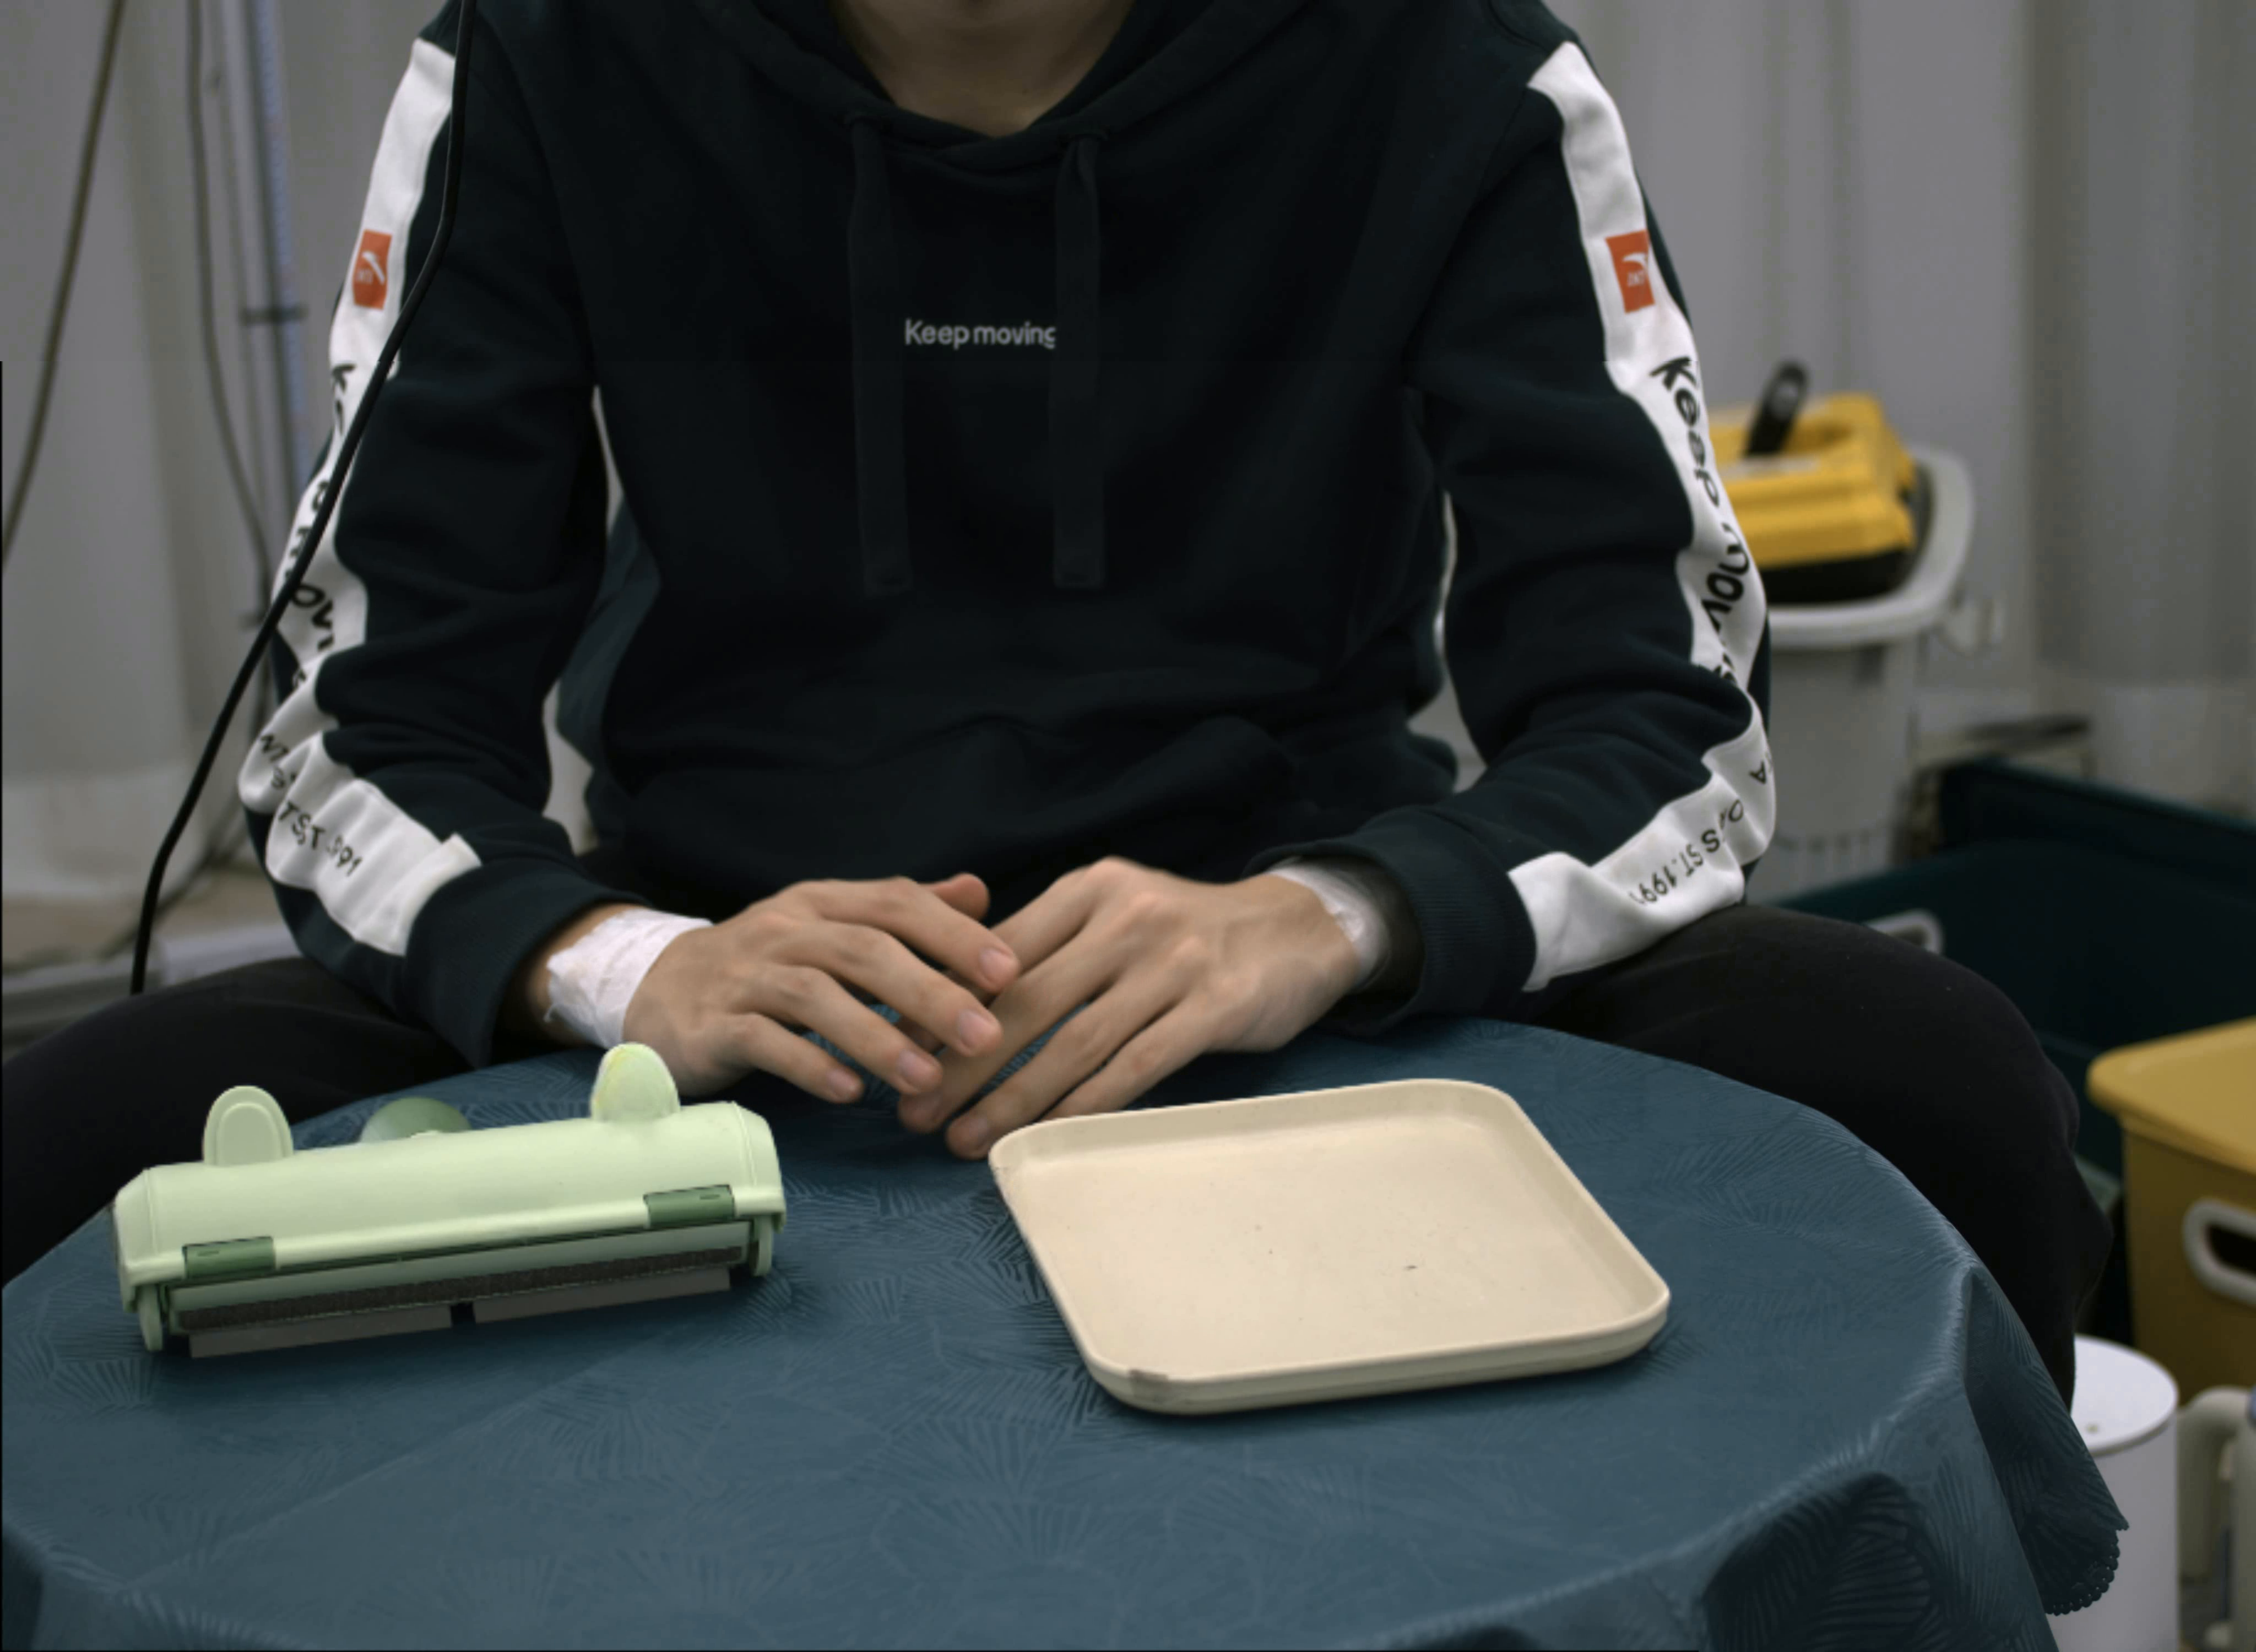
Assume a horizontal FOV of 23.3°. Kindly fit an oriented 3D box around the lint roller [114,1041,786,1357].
[{"bbox_3d":[-0.214,0.096,1.681,0.198,0.082,0.185,-6,19,-11],"label":"lint roller"}]

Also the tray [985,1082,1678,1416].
[{"bbox_3d":[0.056,0.125,1.631,0.170,0.017,0.241,-5,15,-10],"label":"tray"}]
